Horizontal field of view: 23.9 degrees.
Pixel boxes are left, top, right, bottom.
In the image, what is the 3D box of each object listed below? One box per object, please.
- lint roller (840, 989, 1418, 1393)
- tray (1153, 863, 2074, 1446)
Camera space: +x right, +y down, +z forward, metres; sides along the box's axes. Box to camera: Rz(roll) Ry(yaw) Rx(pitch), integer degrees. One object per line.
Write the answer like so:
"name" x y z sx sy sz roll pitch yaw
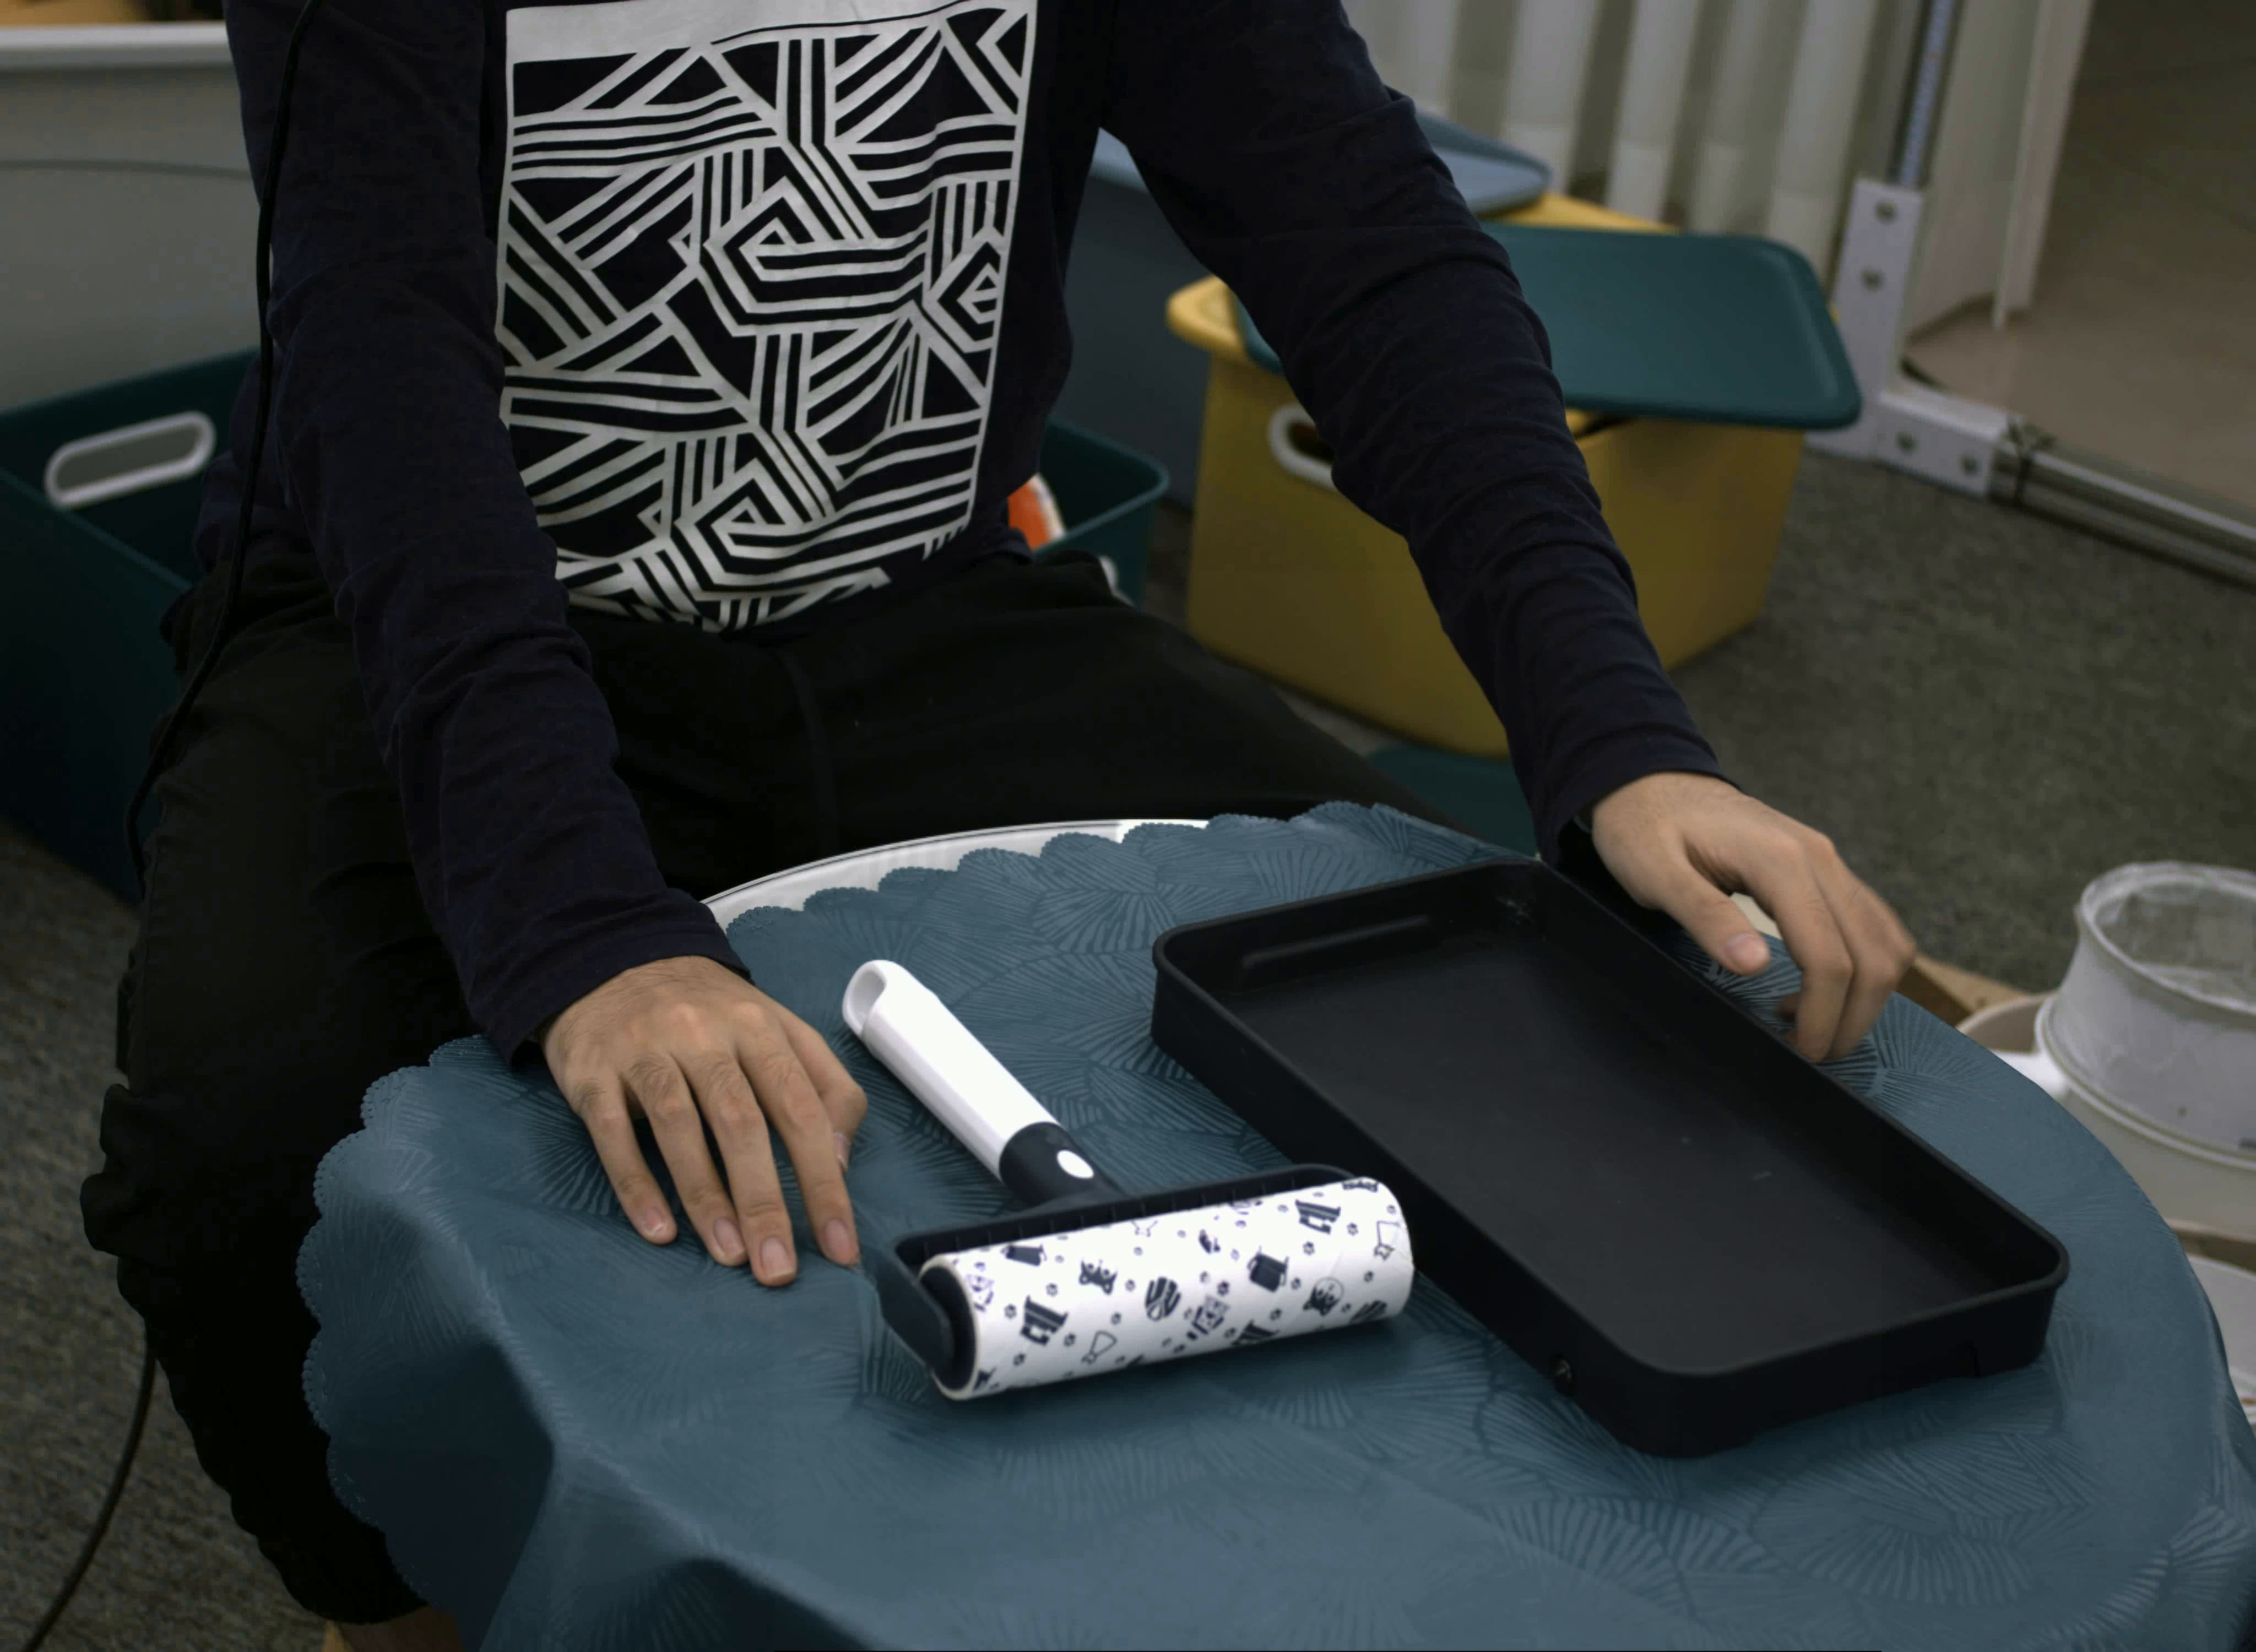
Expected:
"lint roller" -0.037 0.106 1.788 0.175 0.050 0.249 -9 28 -27
"tray" 0.160 0.106 1.835 0.183 0.037 0.321 -10 30 -31
